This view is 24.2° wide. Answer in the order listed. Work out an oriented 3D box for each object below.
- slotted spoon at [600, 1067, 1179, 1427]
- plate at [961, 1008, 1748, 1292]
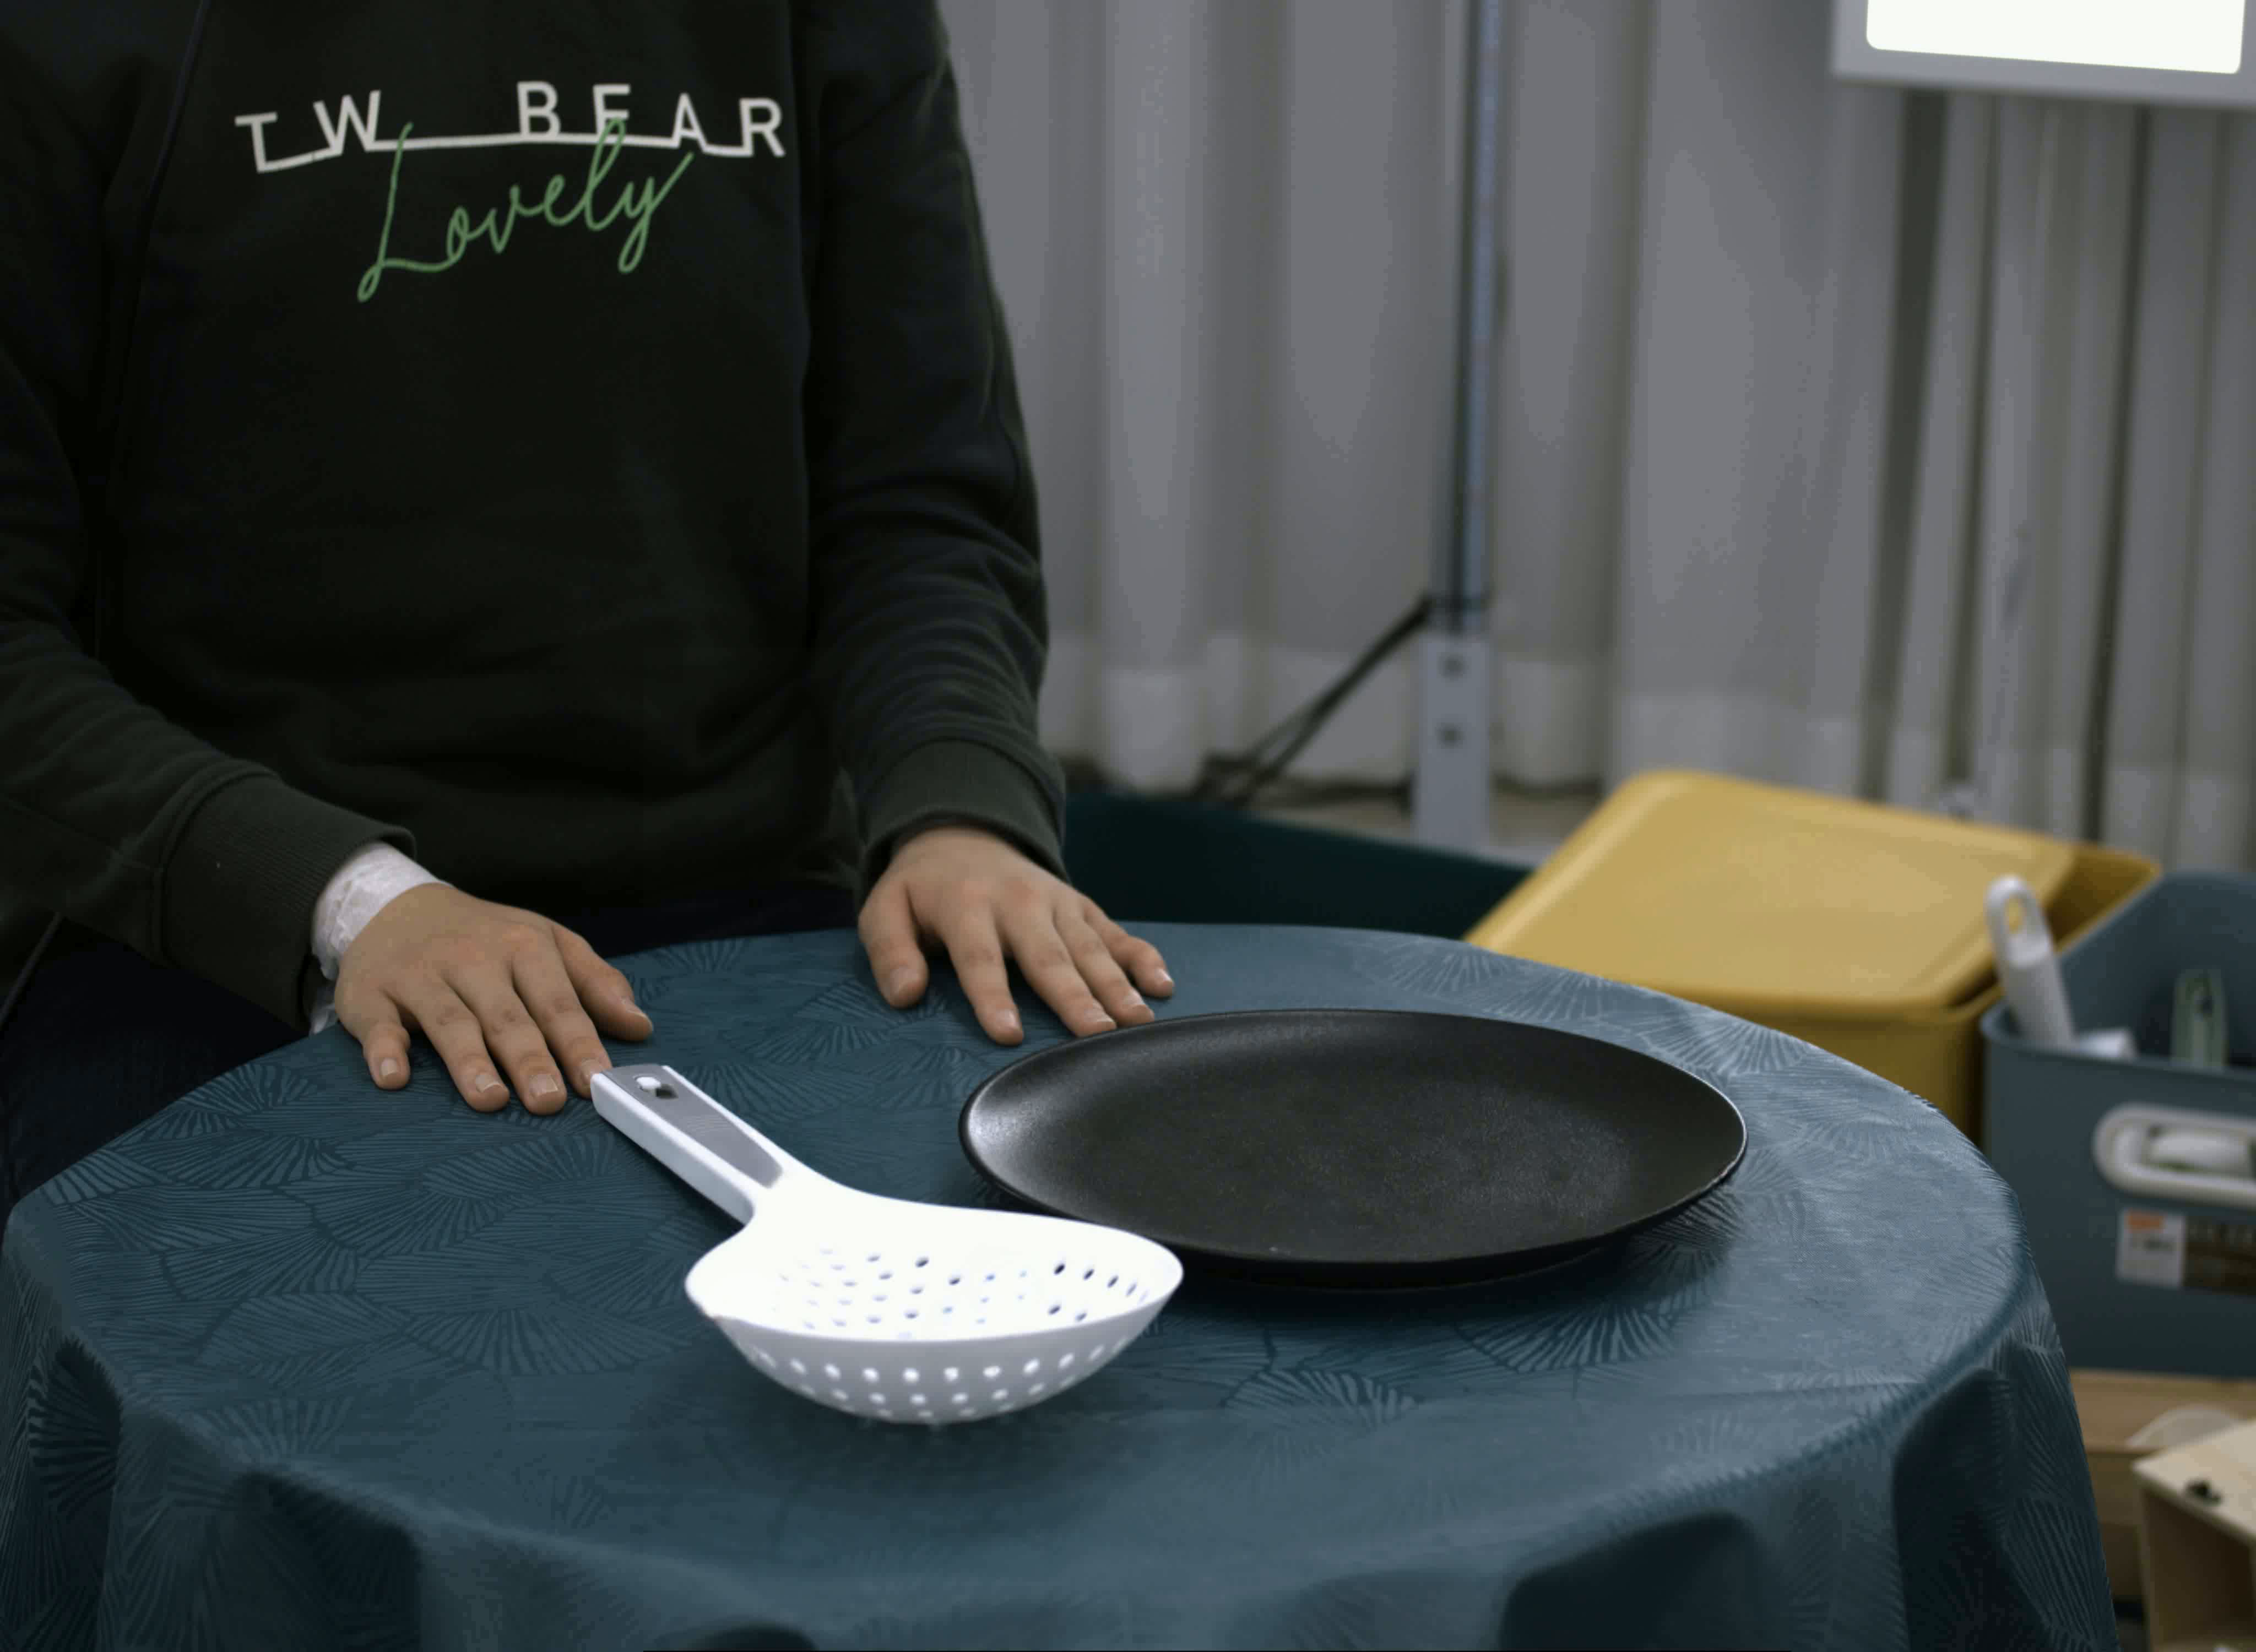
[{"bbox_3d":[-0.094,0.113,1.537,0.136,0.046,0.346,-4,15,-22],"label":"slotted spoon"},{"bbox_3d":[0.069,0.102,1.624,0.243,0.023,0.243,0,16,0],"label":"plate"}]
